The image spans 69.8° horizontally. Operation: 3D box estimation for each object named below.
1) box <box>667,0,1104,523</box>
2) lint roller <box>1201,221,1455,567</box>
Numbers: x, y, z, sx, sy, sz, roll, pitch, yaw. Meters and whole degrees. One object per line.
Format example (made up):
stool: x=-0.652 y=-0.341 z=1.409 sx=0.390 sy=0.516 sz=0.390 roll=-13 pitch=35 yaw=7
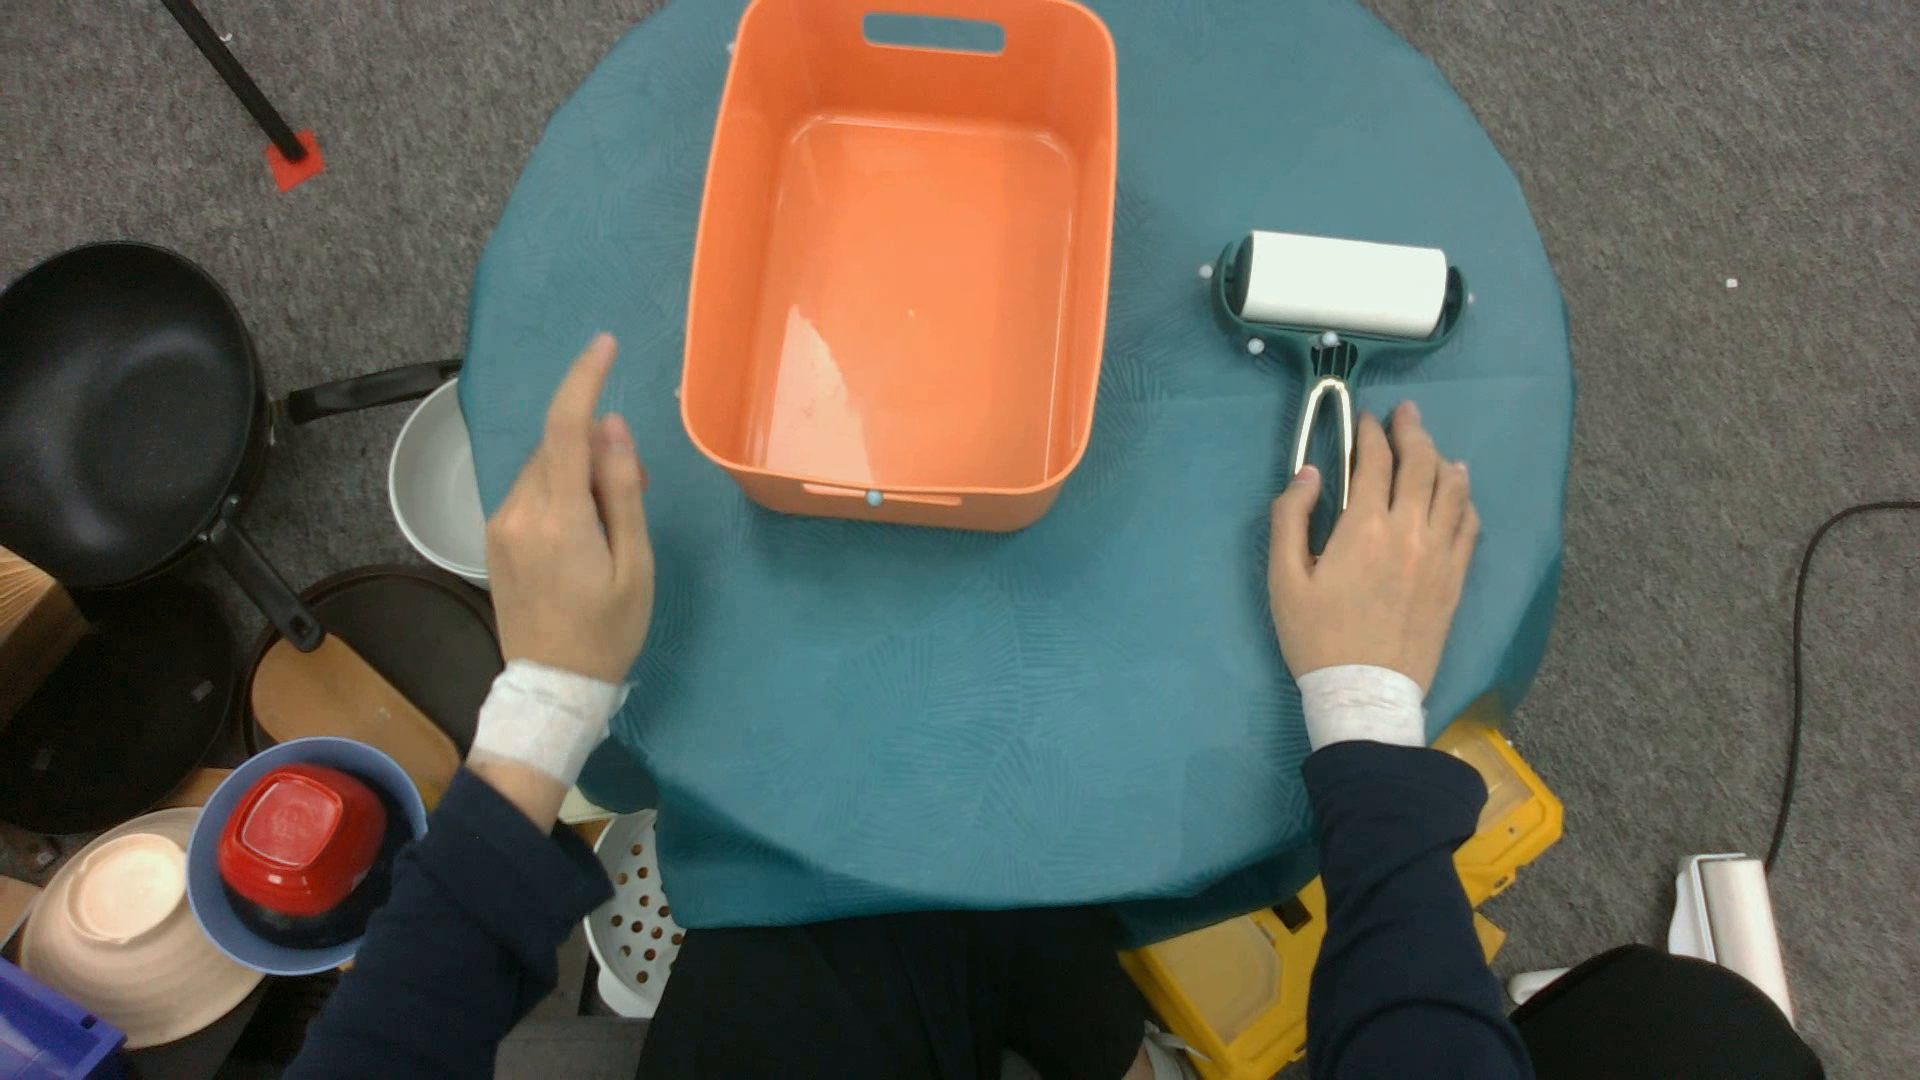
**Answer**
box: x=-0.031 y=-0.143 z=0.706 sx=0.199 sy=0.102 sz=0.274 roll=4 pitch=73 yaw=1
lint roller: x=0.188 y=-0.078 z=0.724 sx=0.134 sy=0.048 sz=0.180 roll=7 pitch=77 yaw=1
